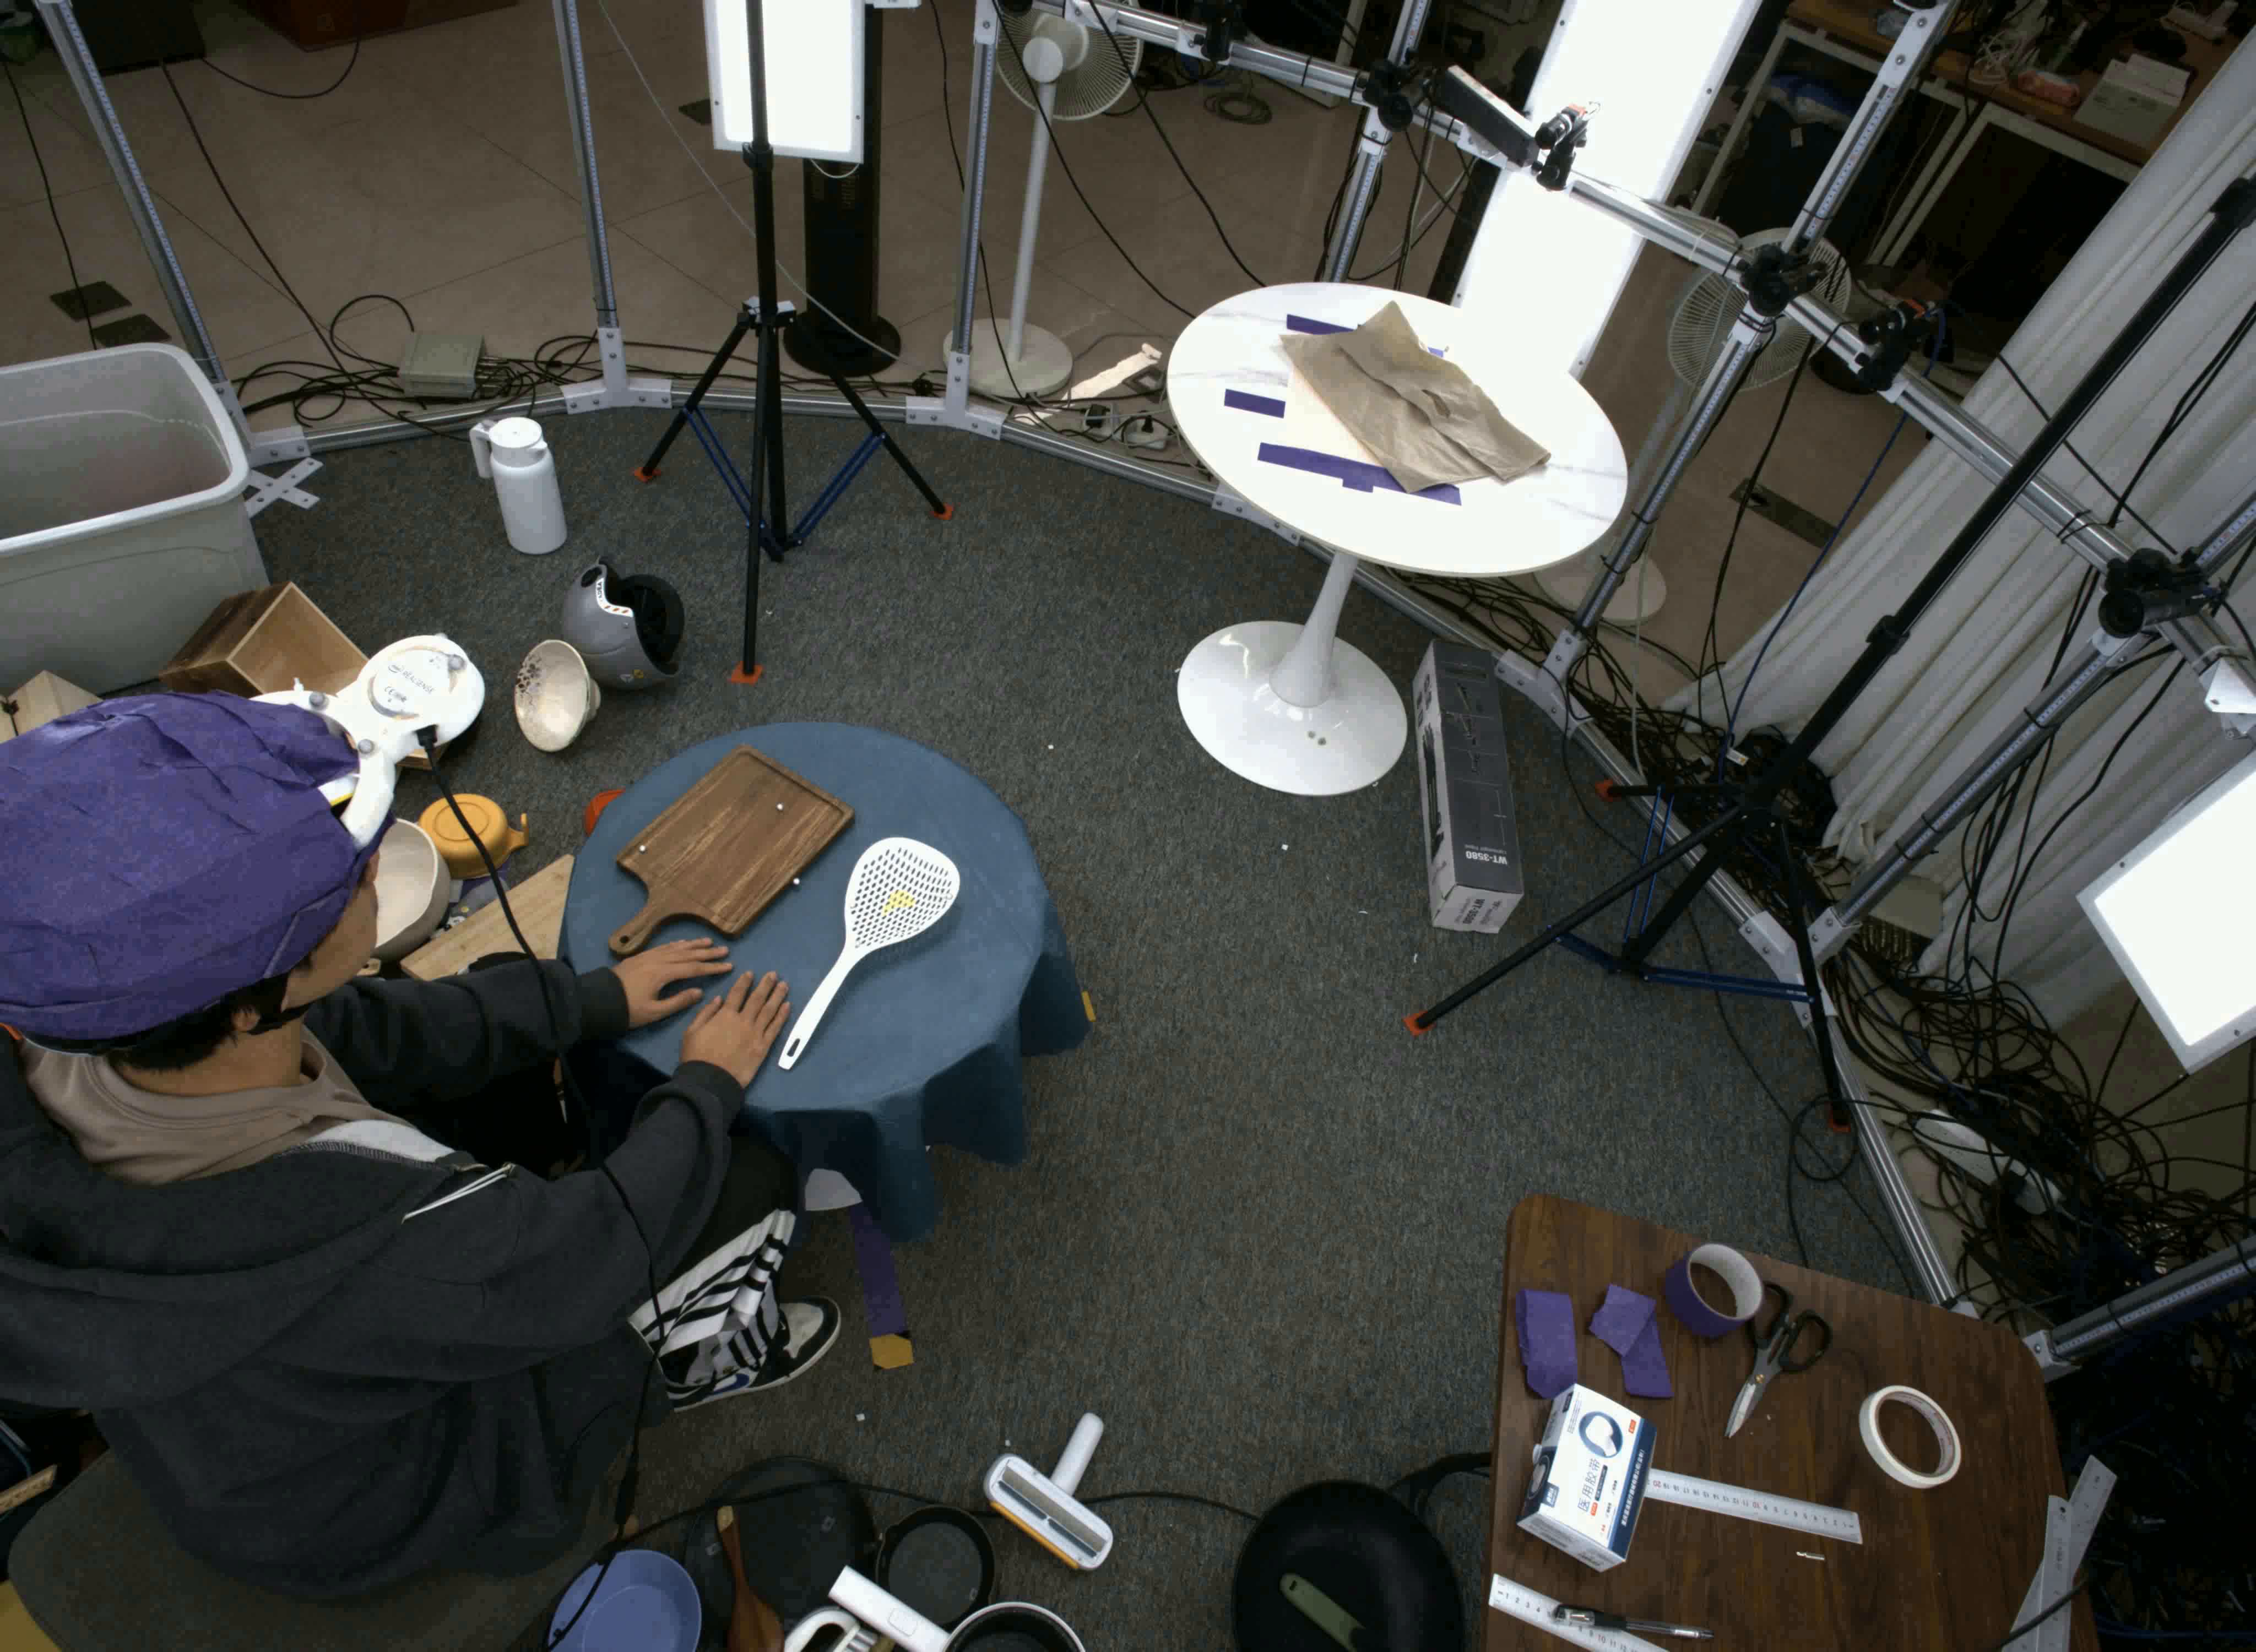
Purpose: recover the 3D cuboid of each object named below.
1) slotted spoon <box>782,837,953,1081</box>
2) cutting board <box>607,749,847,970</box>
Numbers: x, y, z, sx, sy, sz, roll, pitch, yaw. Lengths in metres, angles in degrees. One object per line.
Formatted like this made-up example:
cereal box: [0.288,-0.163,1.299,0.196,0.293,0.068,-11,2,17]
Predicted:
slotted spoon: [-0.338,0.157,1.607,0.135,0.051,0.345,26,52,3]
cutting board: [-0.540,0.051,1.648,0.197,0.023,0.351,30,52,9]
